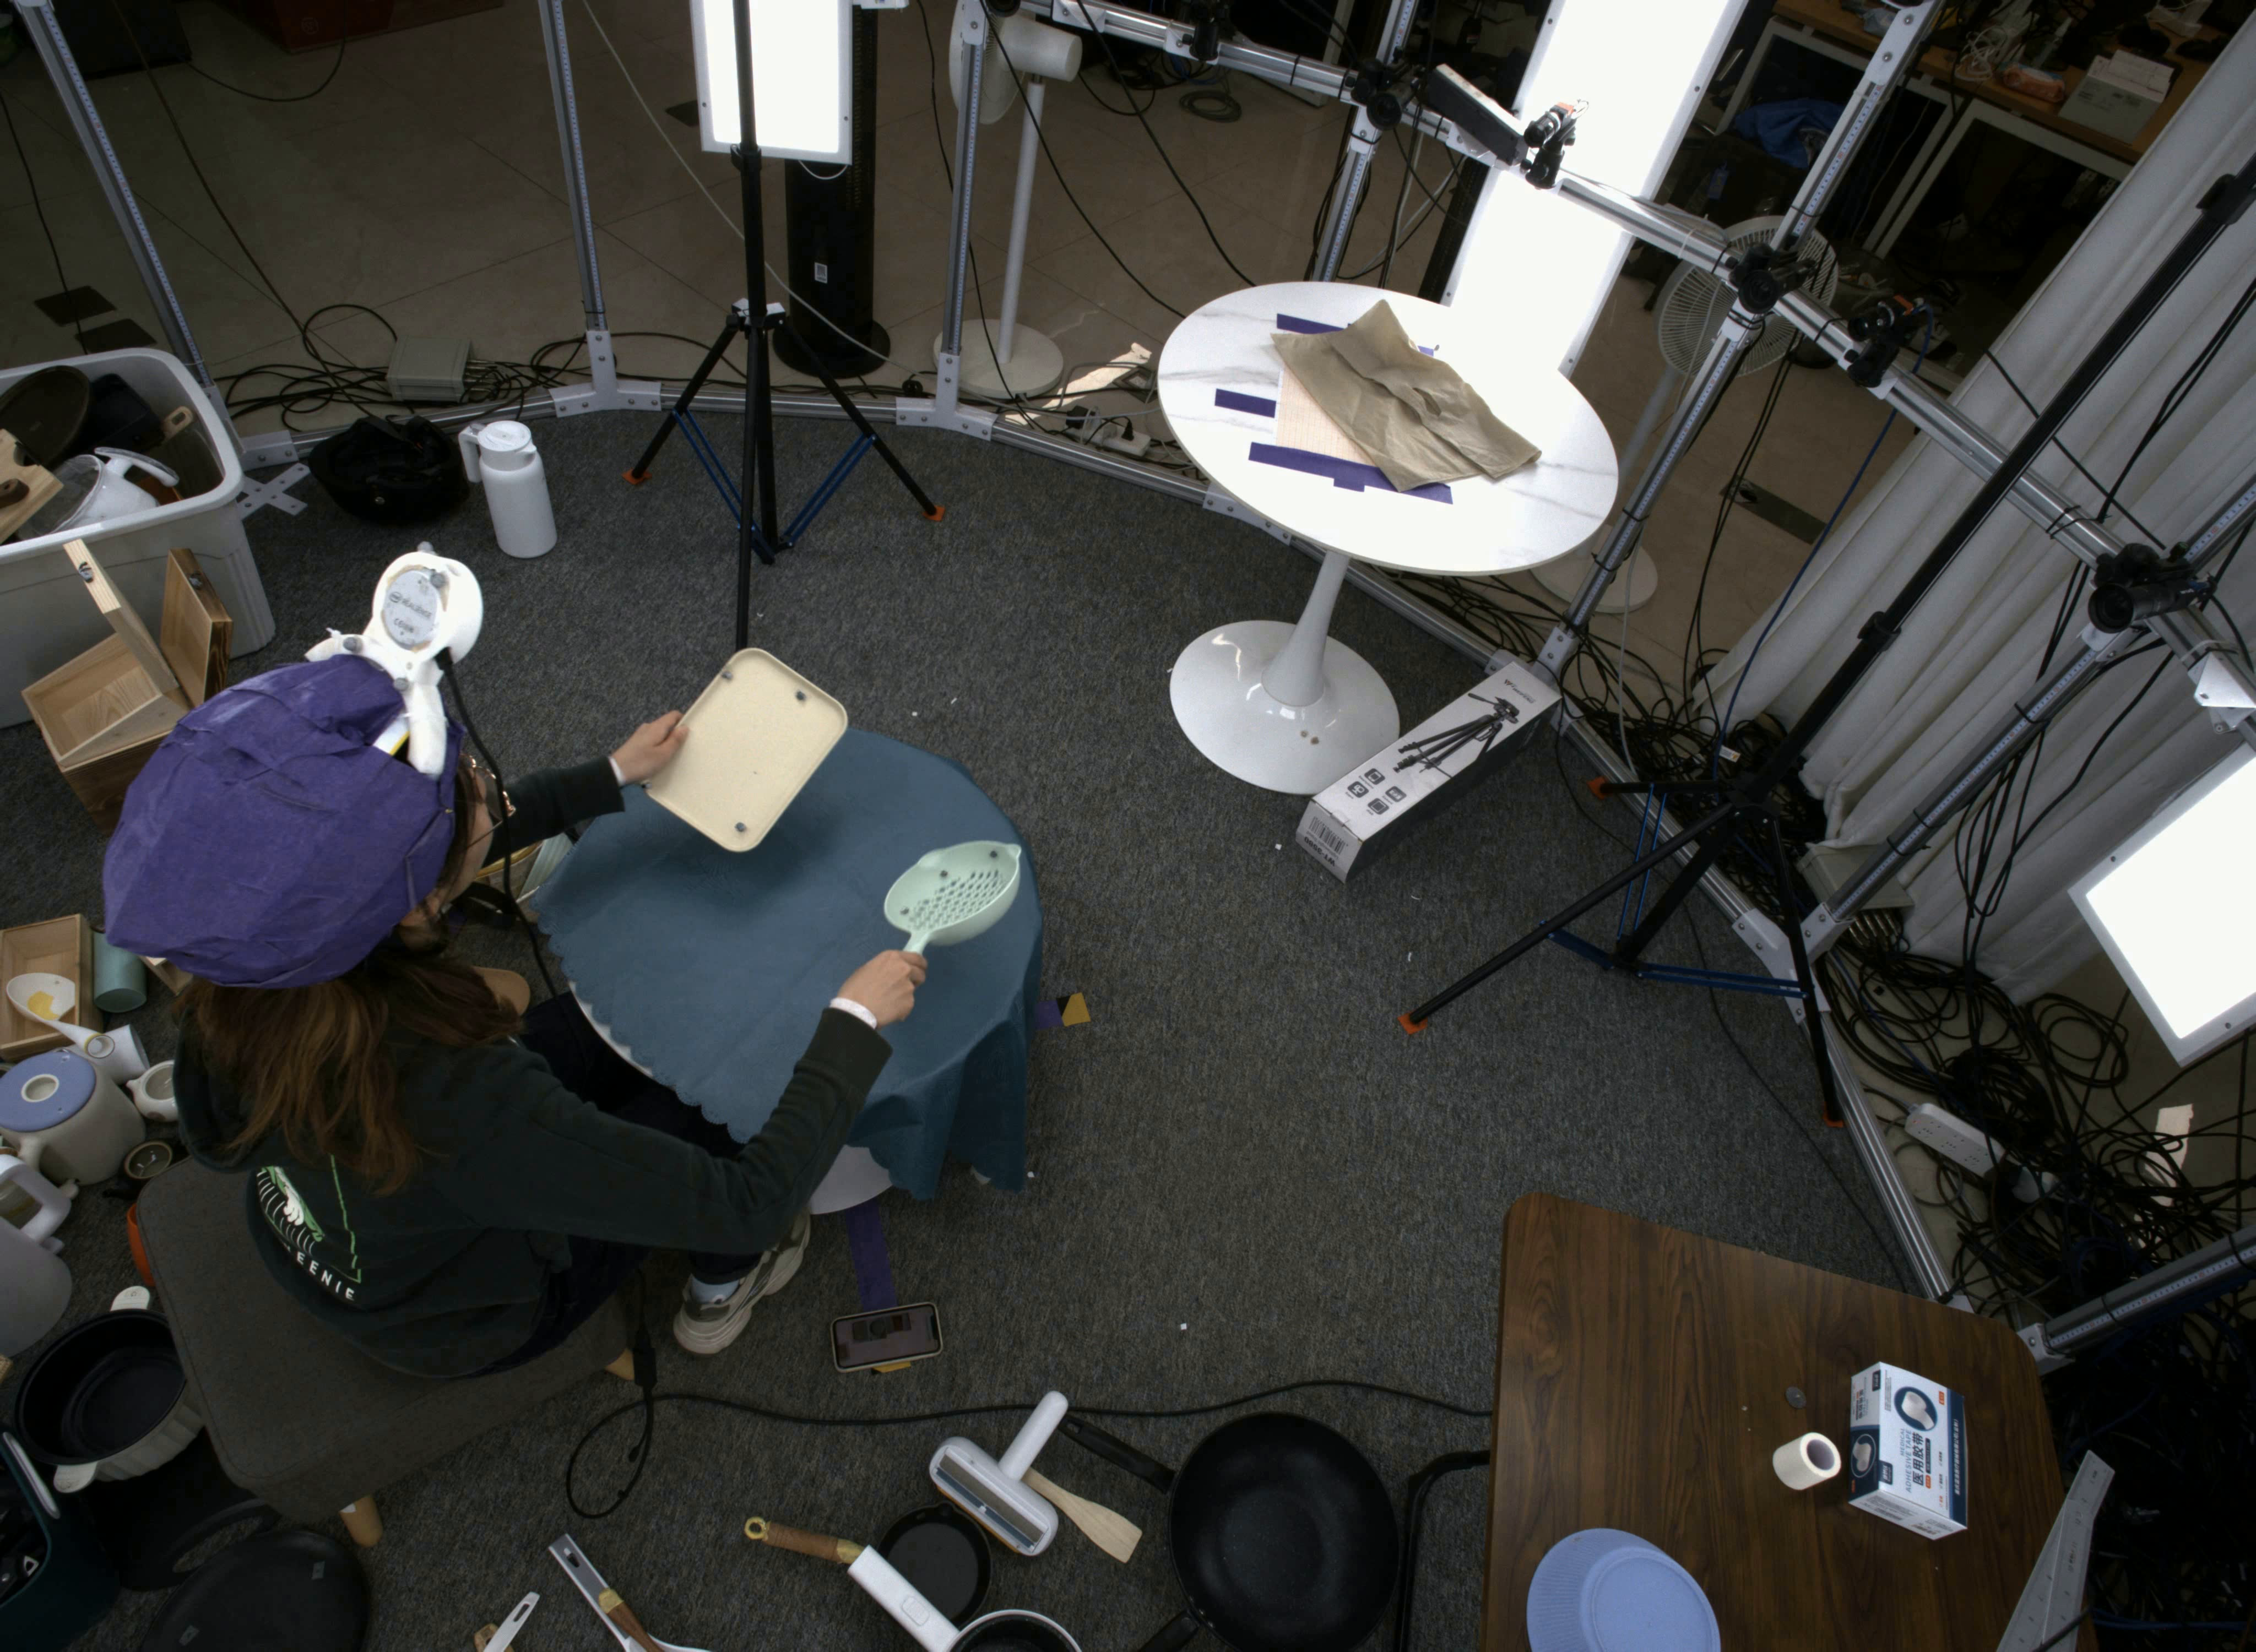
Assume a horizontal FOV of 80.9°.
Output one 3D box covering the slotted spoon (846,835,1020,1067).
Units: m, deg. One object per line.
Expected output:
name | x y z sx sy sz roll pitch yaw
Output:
slotted spoon | -0.235 0.129 1.476 0.164 0.078 0.356 -5 27 25

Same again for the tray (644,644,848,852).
tray | -0.477 -0.098 1.620 0.172 0.017 0.239 35 70 -7
